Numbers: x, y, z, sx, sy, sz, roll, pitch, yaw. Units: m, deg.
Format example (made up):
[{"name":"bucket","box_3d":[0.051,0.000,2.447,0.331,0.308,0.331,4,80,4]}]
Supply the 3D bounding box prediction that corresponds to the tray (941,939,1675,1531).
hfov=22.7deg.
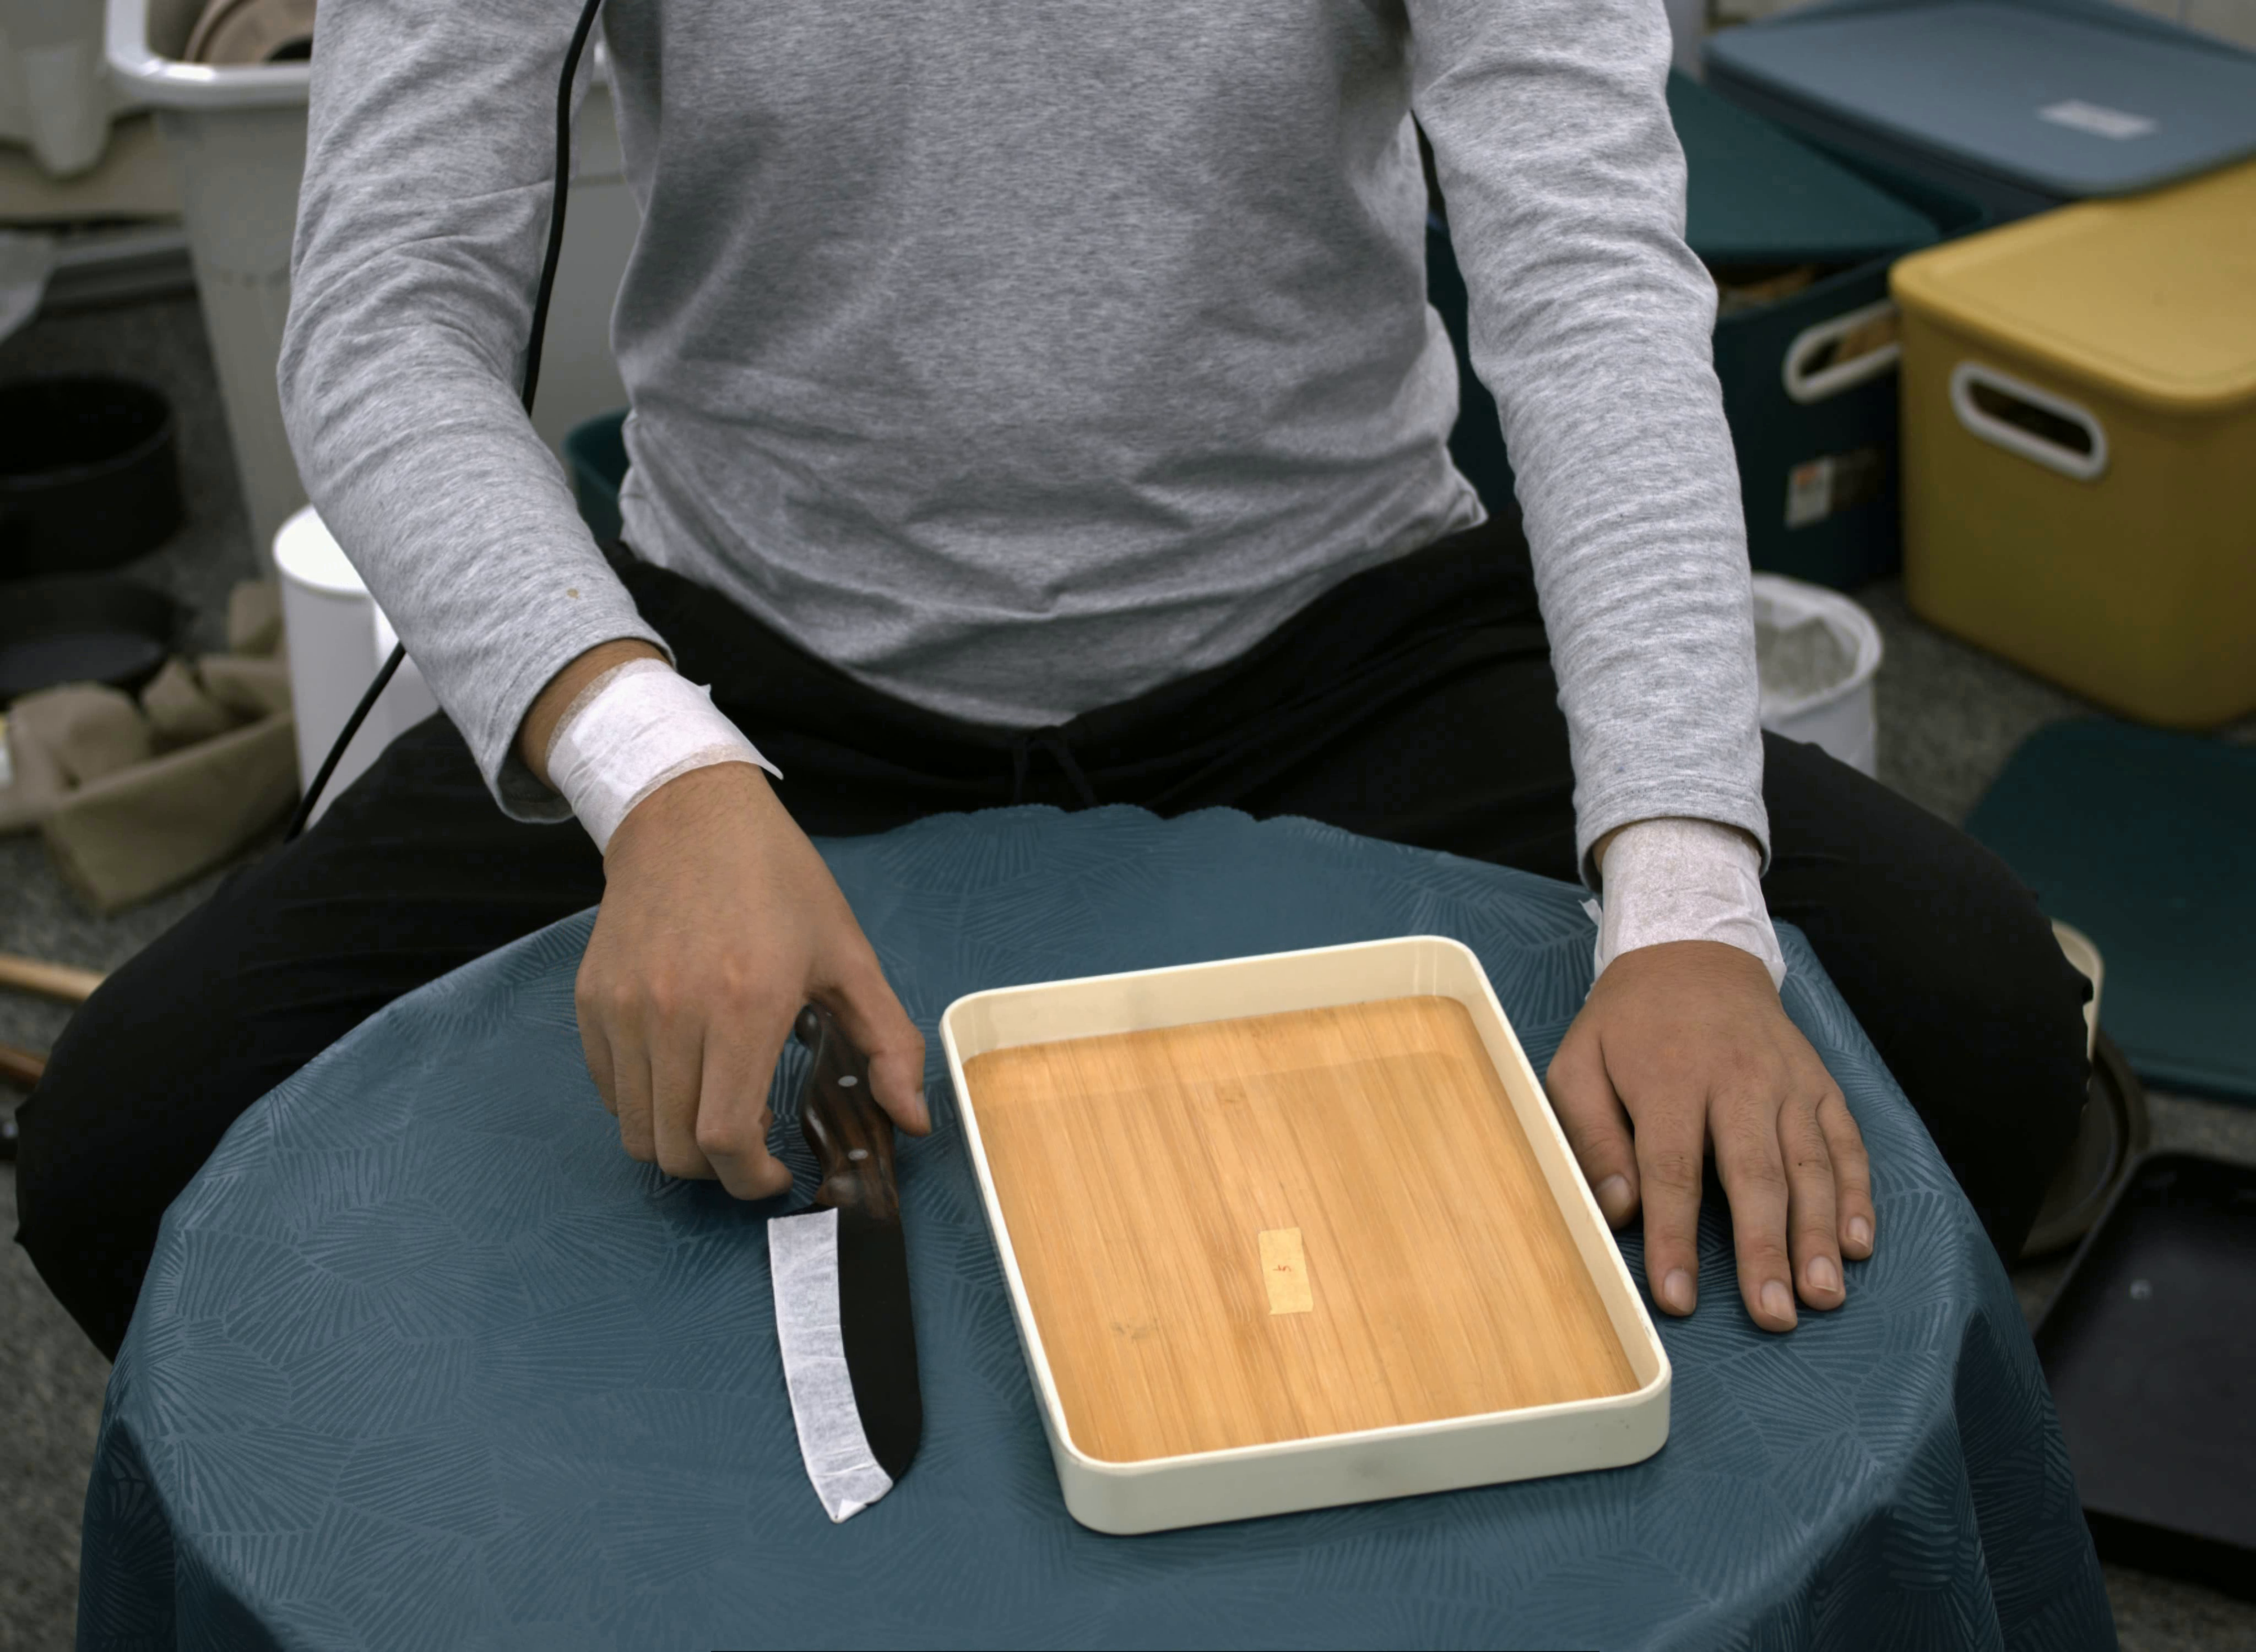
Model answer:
[{"name":"tray","box_3d":[0.051,0.126,1.819,0.191,0.027,0.304,-7,27,-8]}]

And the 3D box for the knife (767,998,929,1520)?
[{"name":"knife","box_3d":[-0.092,0.138,1.822,0.050,0.020,0.293,-8,30,0]}]
